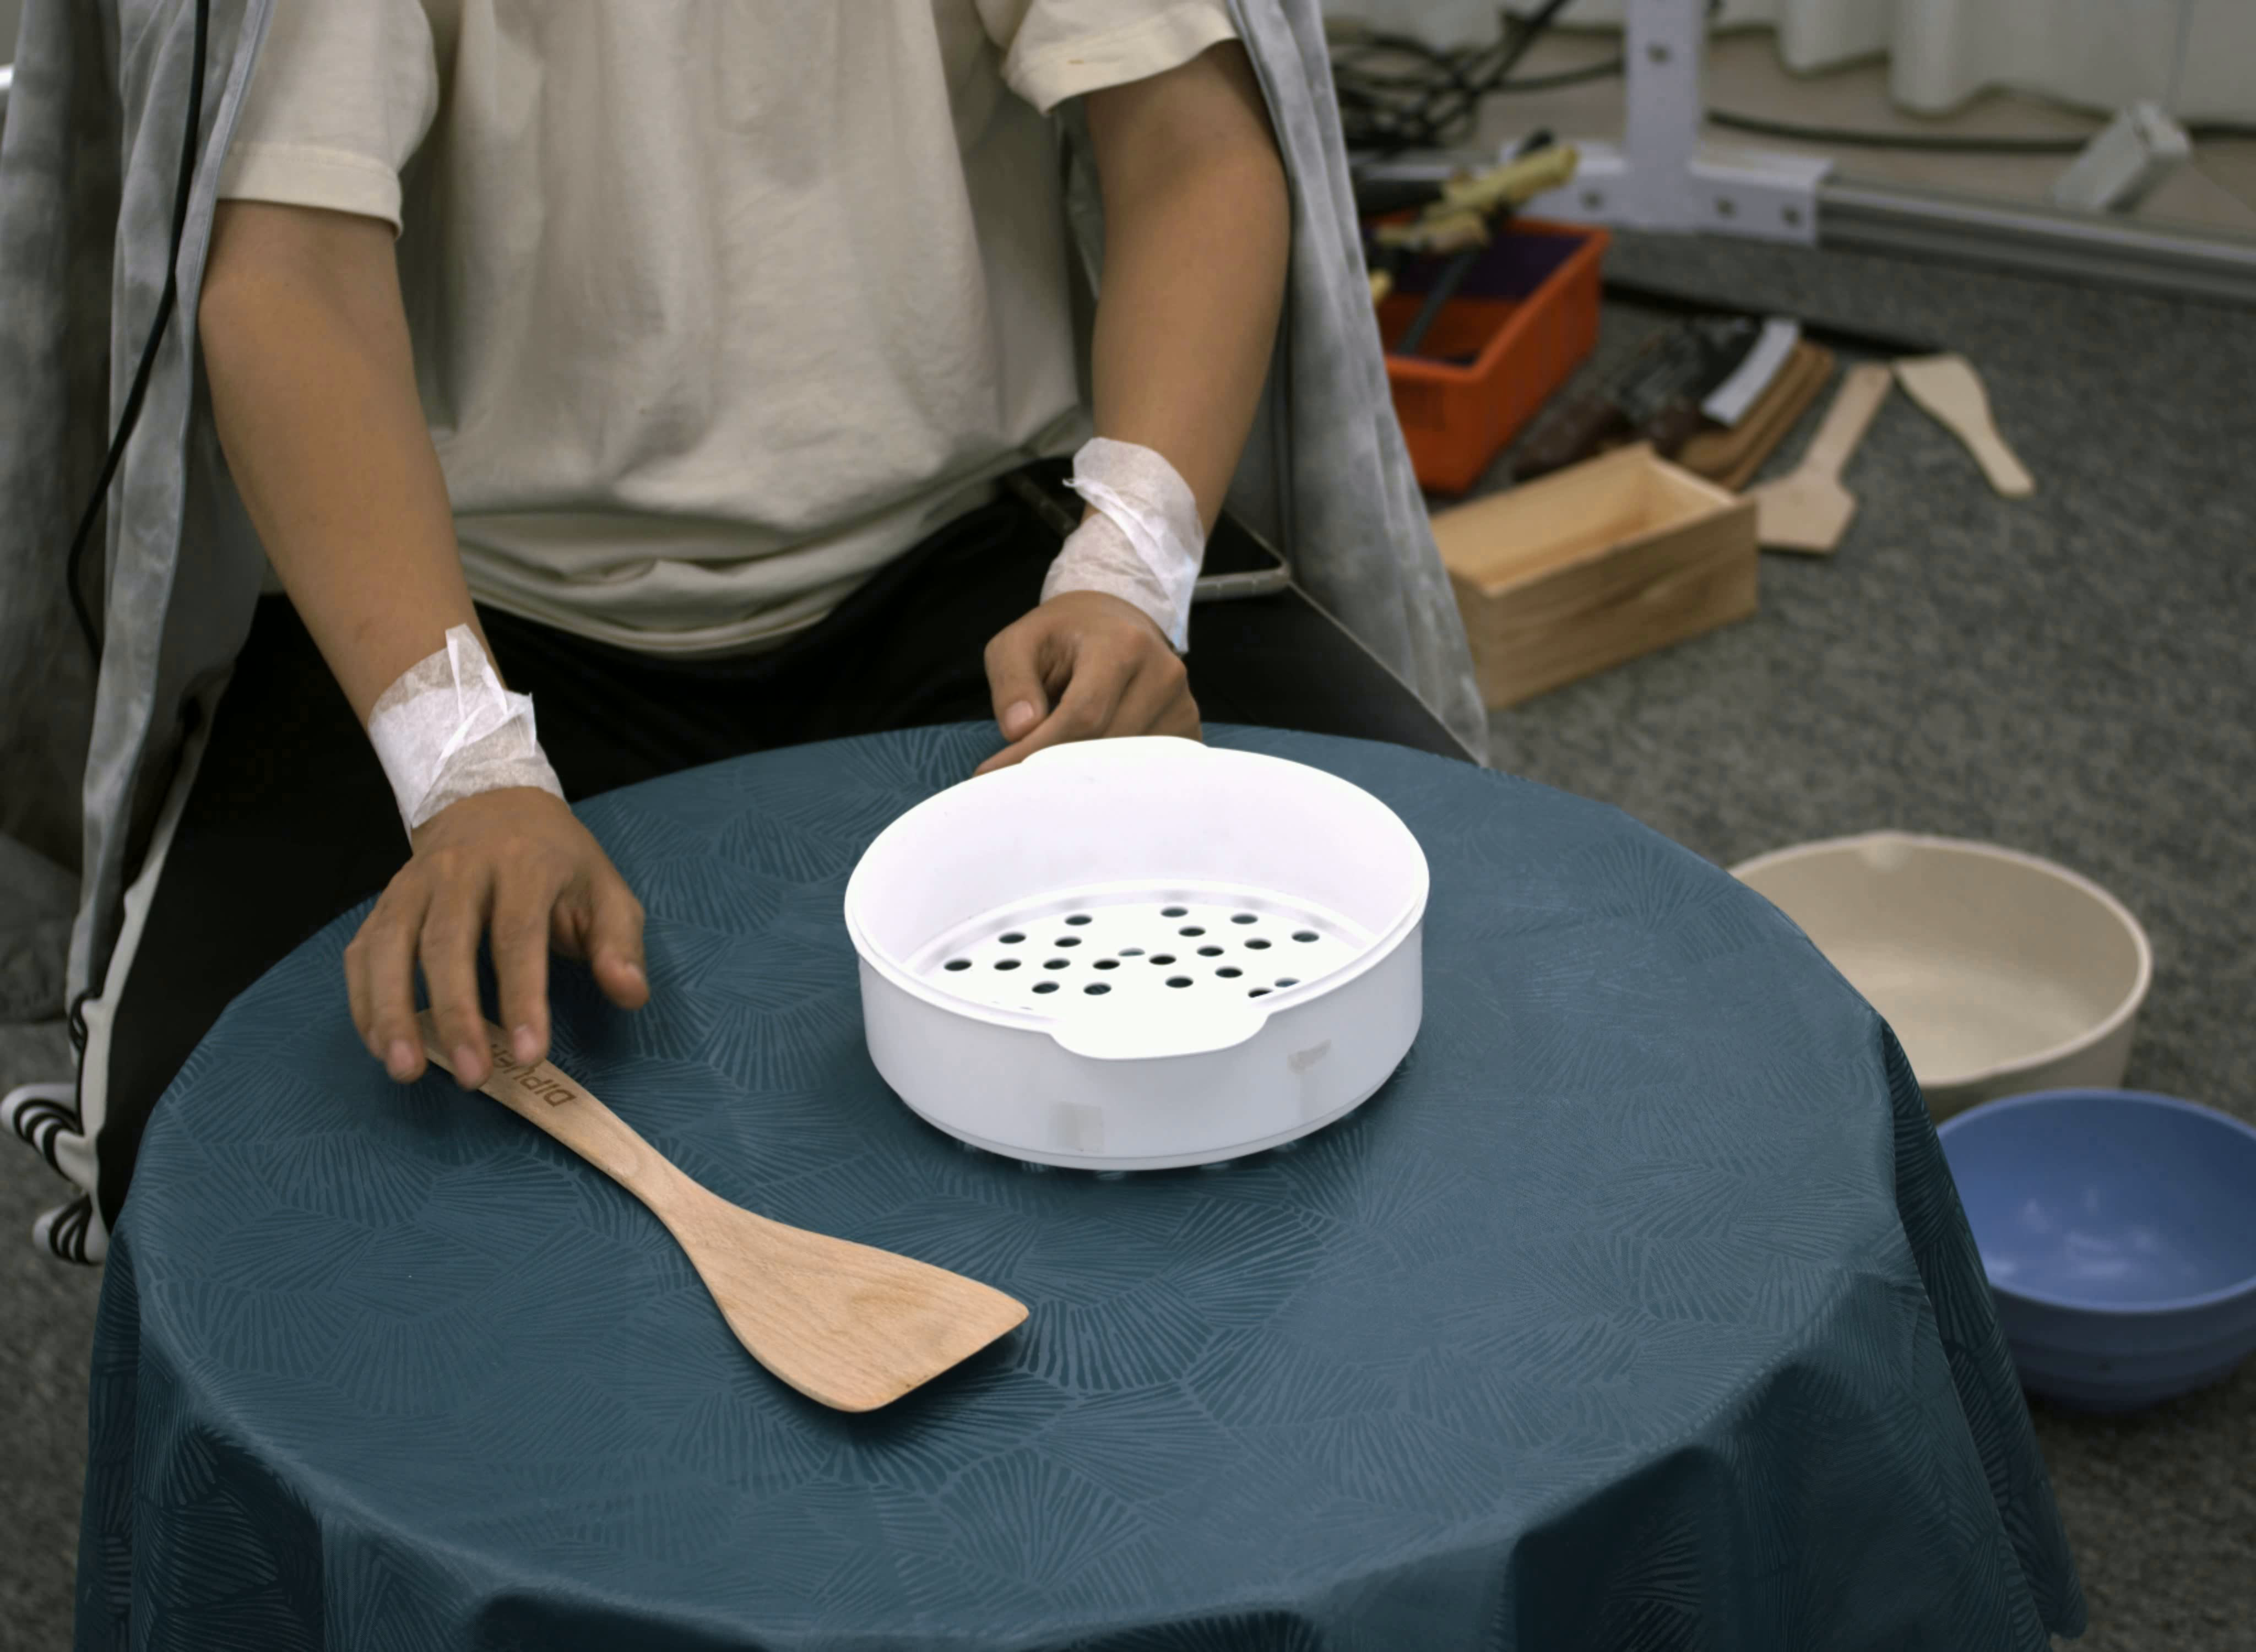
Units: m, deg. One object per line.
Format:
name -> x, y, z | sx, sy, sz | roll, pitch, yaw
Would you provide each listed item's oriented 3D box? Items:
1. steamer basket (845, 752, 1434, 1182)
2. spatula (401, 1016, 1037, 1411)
steamer basket -> 0.005, 0.050, 1.929 | 0.201, 0.068, 0.234 | -3, 26, -3
spatula -> -0.149, 0.121, 1.858 | 0.080, 0.016, 0.328 | -21, 32, -33
